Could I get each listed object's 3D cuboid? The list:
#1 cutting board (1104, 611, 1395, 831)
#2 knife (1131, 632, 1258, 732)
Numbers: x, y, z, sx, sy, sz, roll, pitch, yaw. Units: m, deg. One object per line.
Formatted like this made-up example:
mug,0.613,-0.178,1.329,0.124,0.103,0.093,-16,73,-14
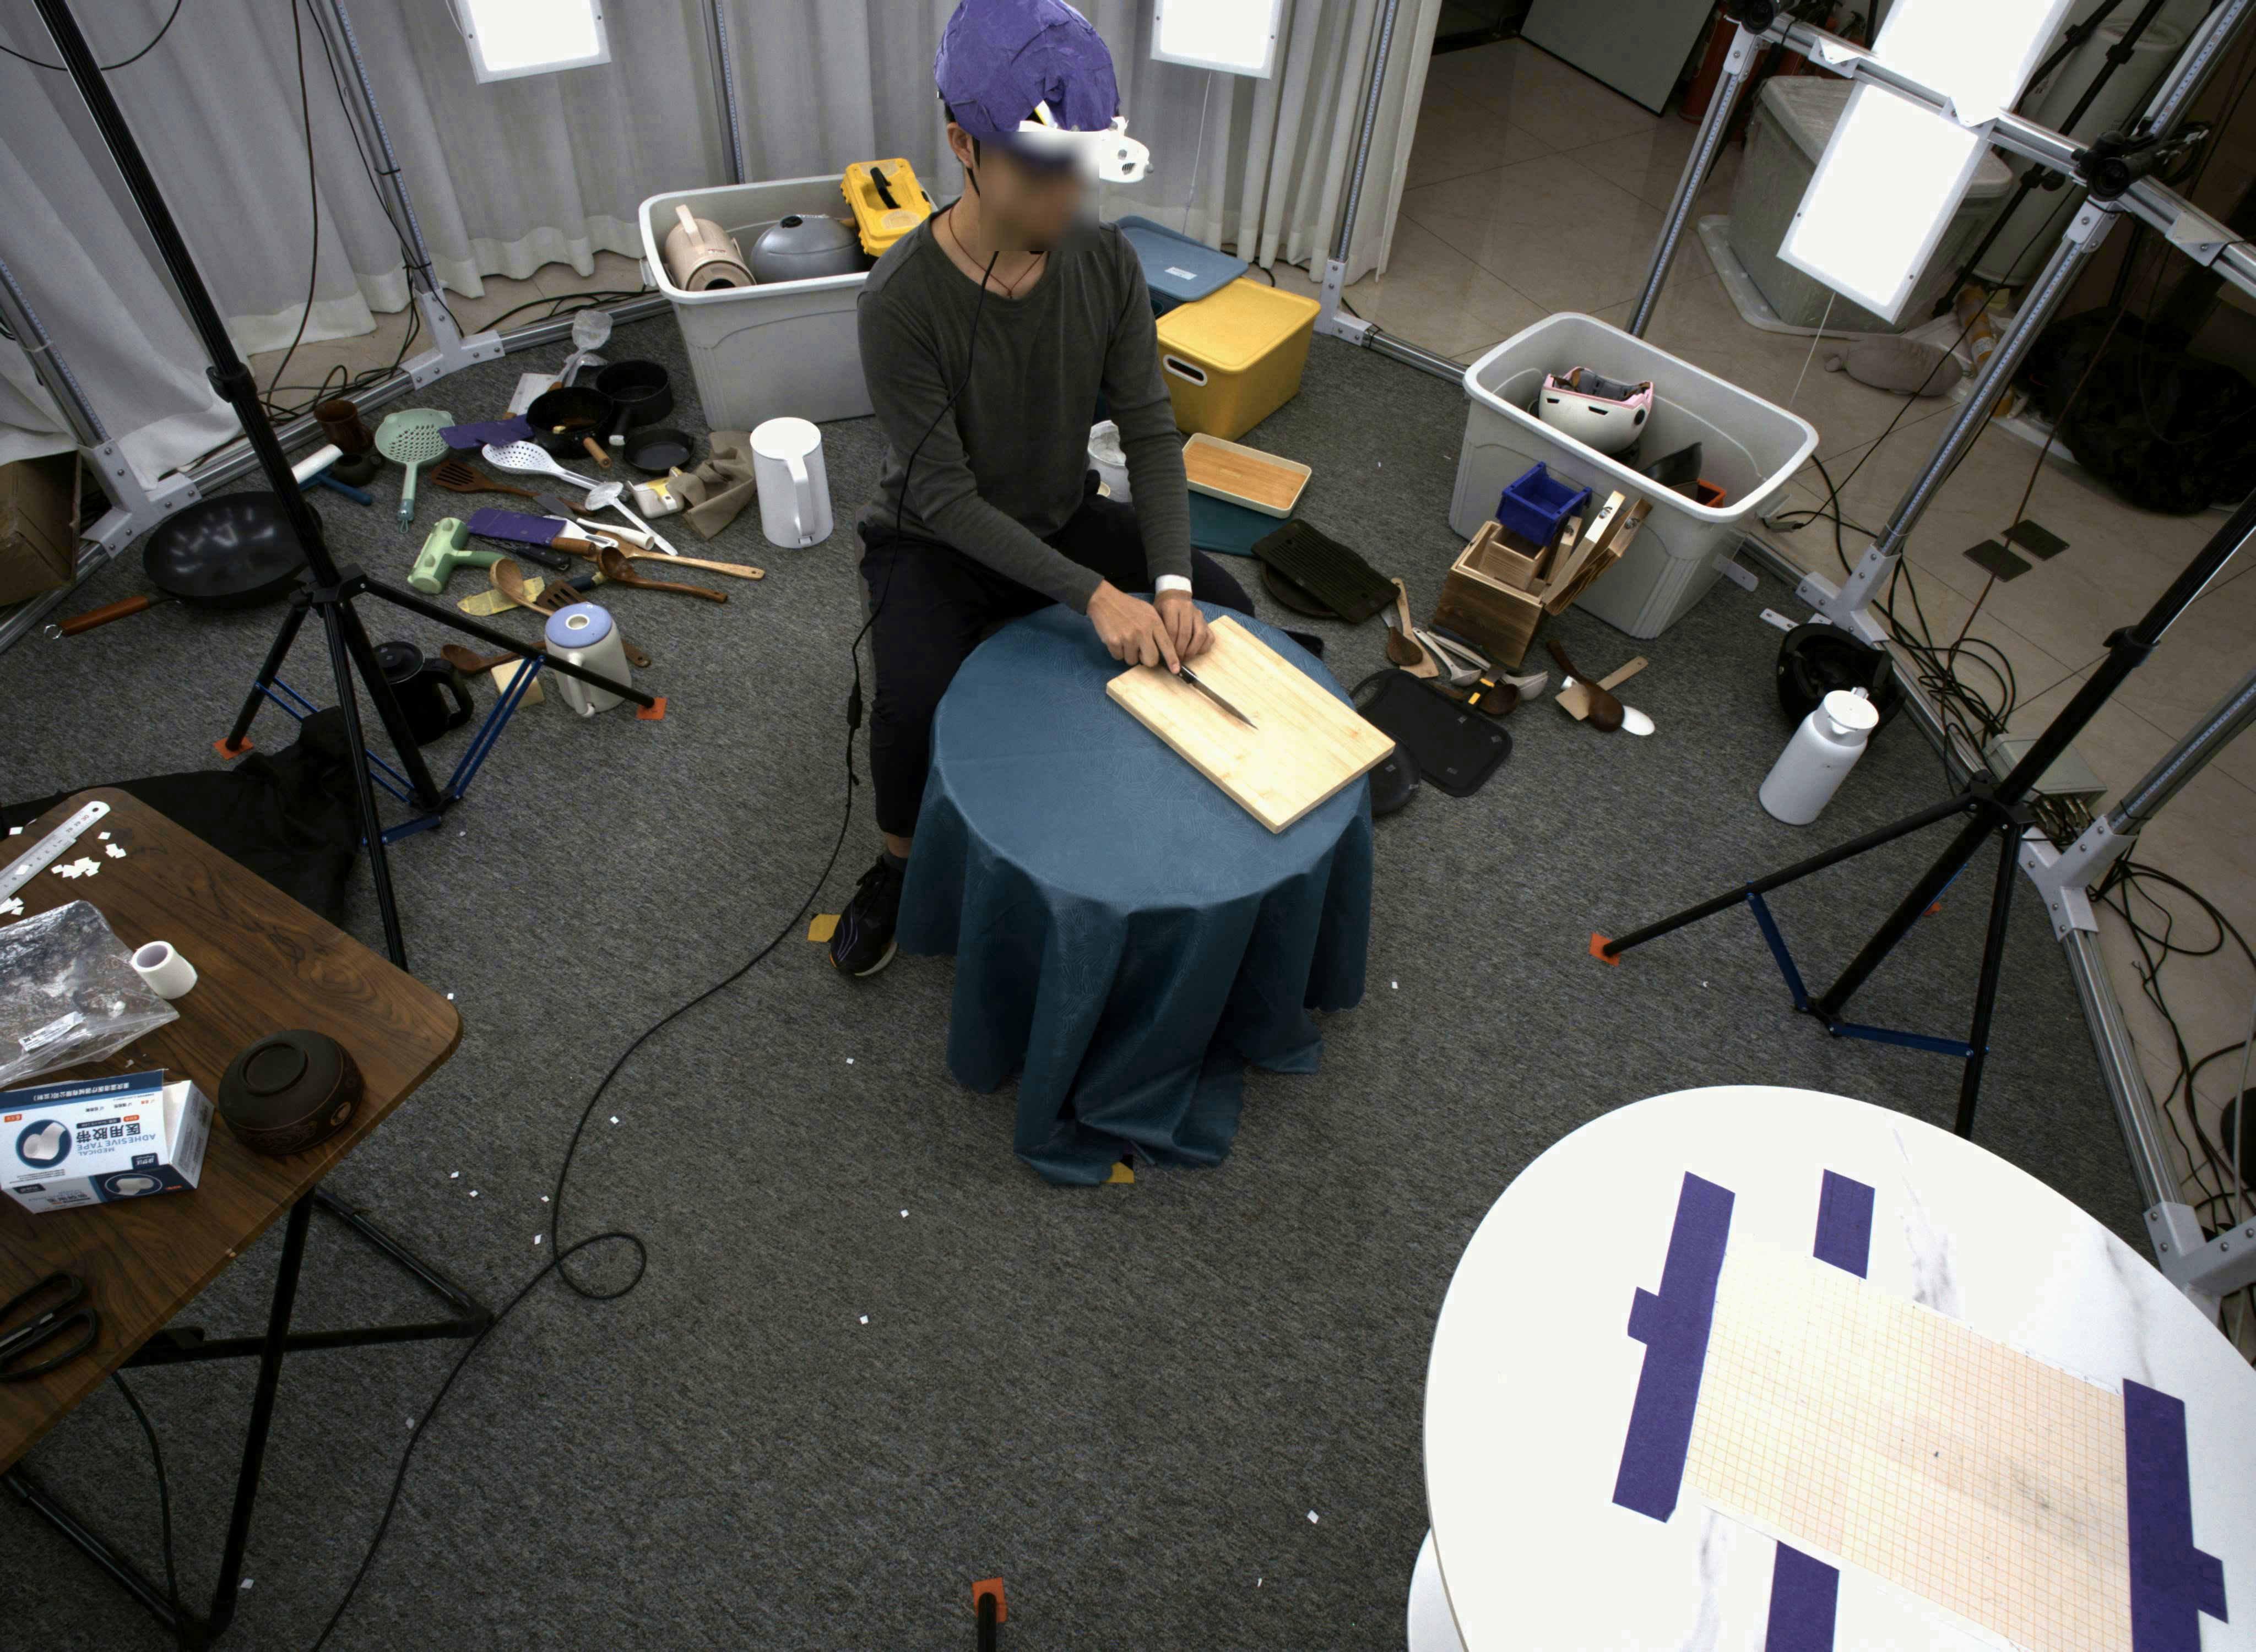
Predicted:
cutting board,0.167,-0.156,1.804,0.252,0.023,0.354,-33,59,-28
knife,0.094,-0.204,1.807,0.241,0.024,0.016,40,63,21
